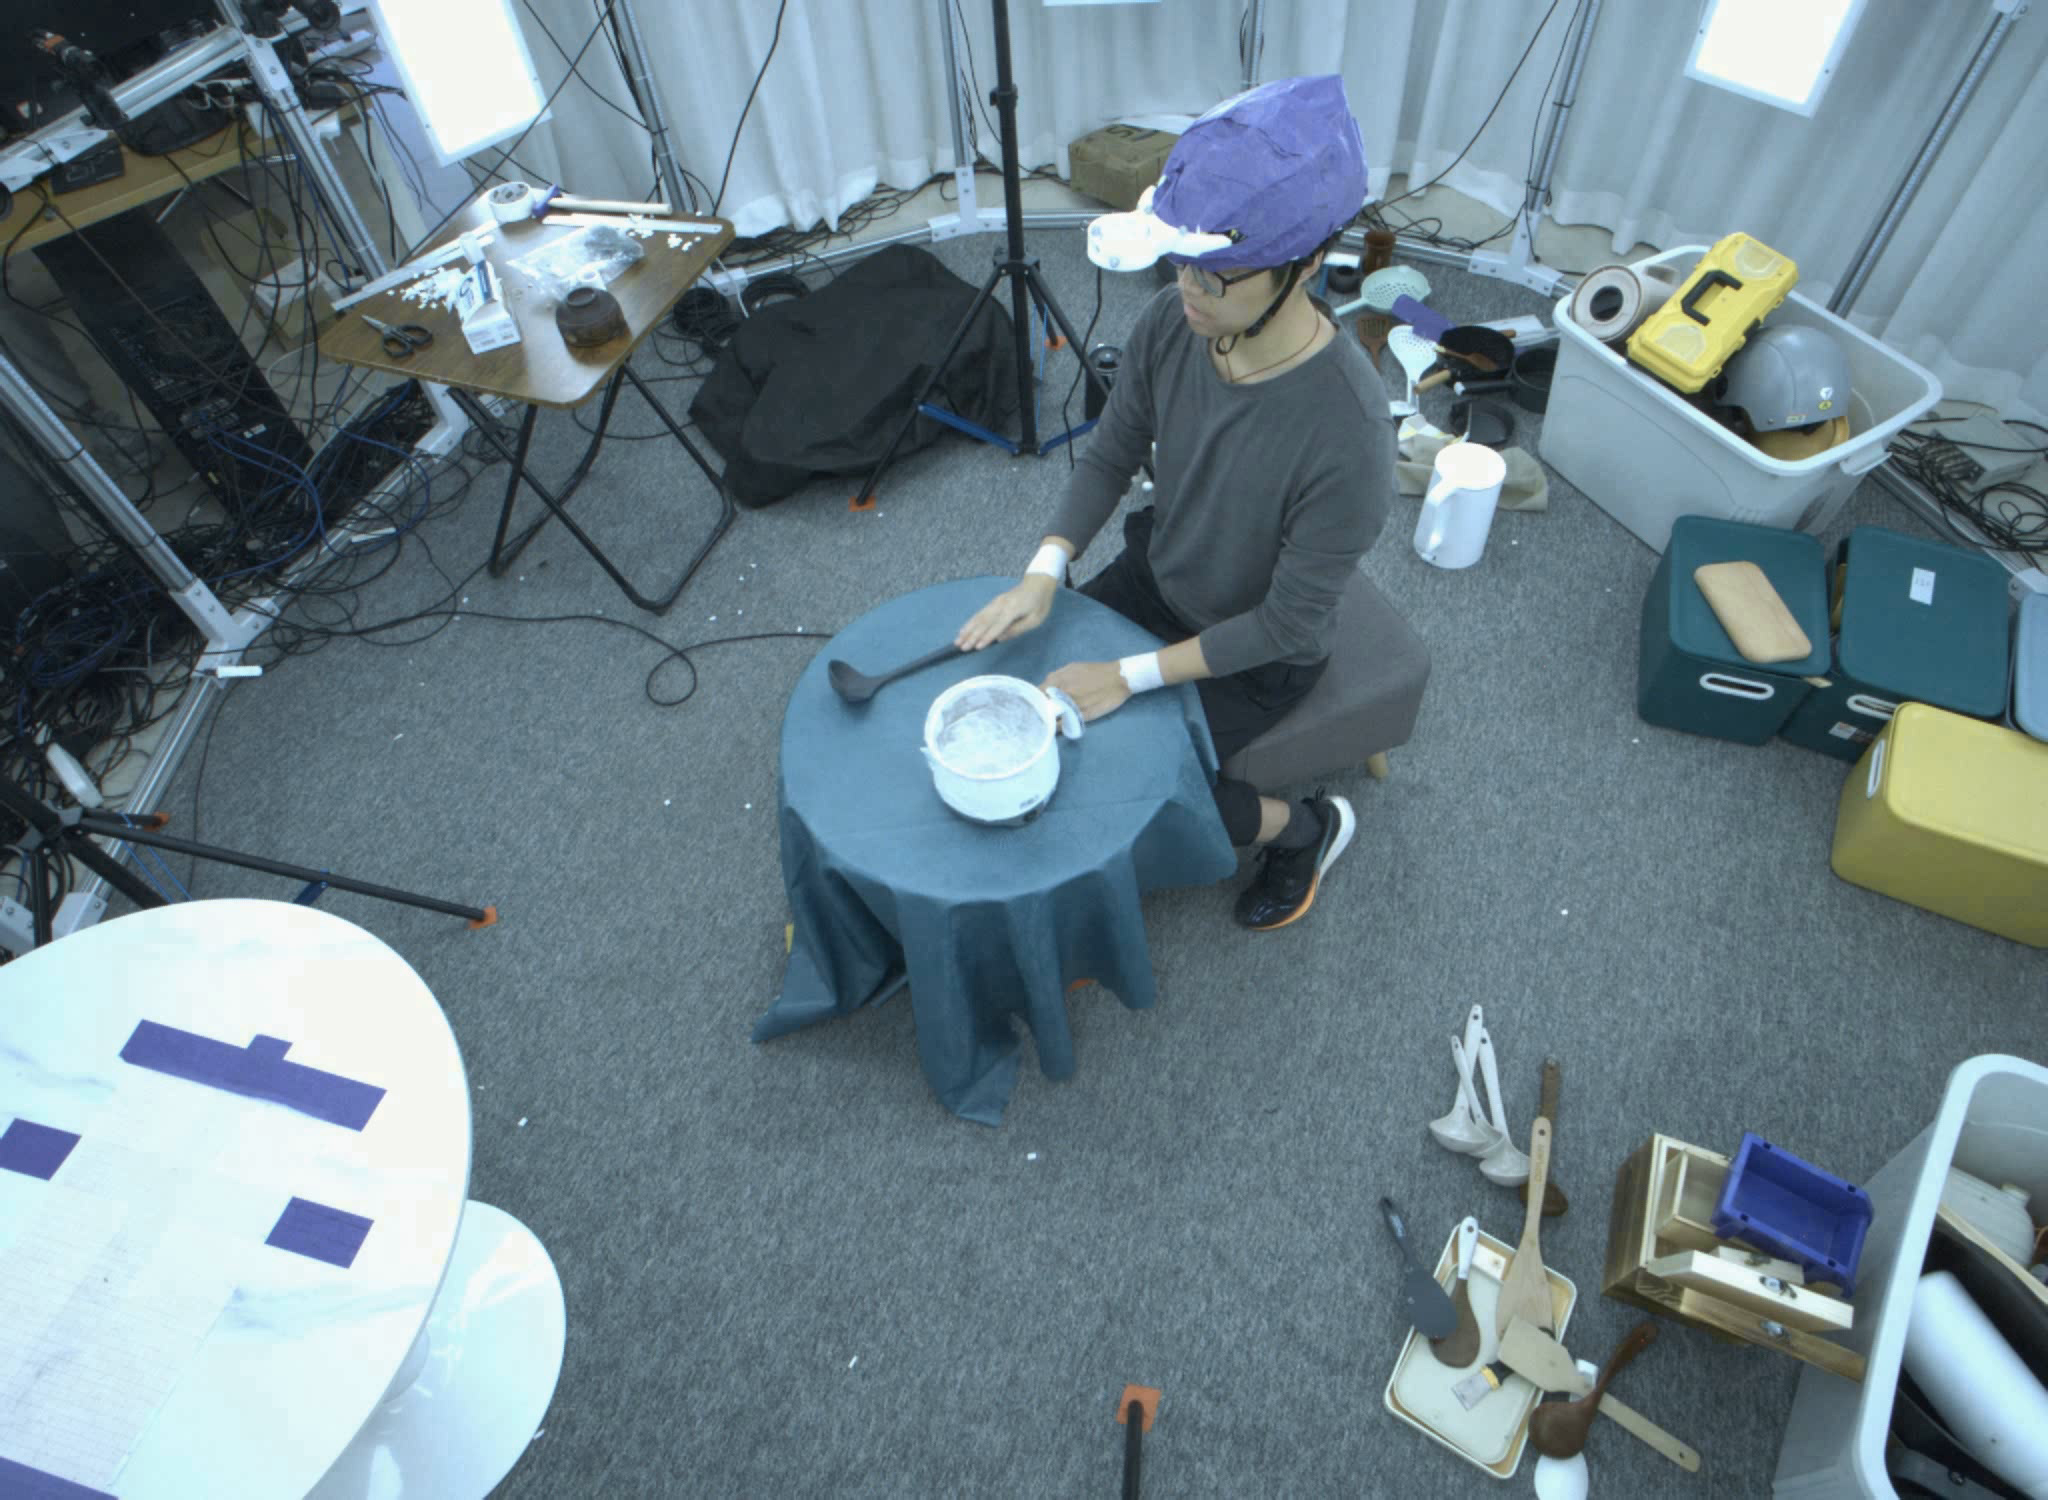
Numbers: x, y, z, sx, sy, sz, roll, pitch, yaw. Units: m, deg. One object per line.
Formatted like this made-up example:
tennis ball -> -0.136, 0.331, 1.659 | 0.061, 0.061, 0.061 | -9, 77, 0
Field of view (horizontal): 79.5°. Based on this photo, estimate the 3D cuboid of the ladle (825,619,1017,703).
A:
ladle -> -0.153, -0.152, 1.869 | 0.316, 0.064, 0.084 | -24, 60, -15

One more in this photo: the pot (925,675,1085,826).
pot -> -0.019, -0.009, 1.718 | 0.235, 0.138, 0.175 | -30, 59, -19
